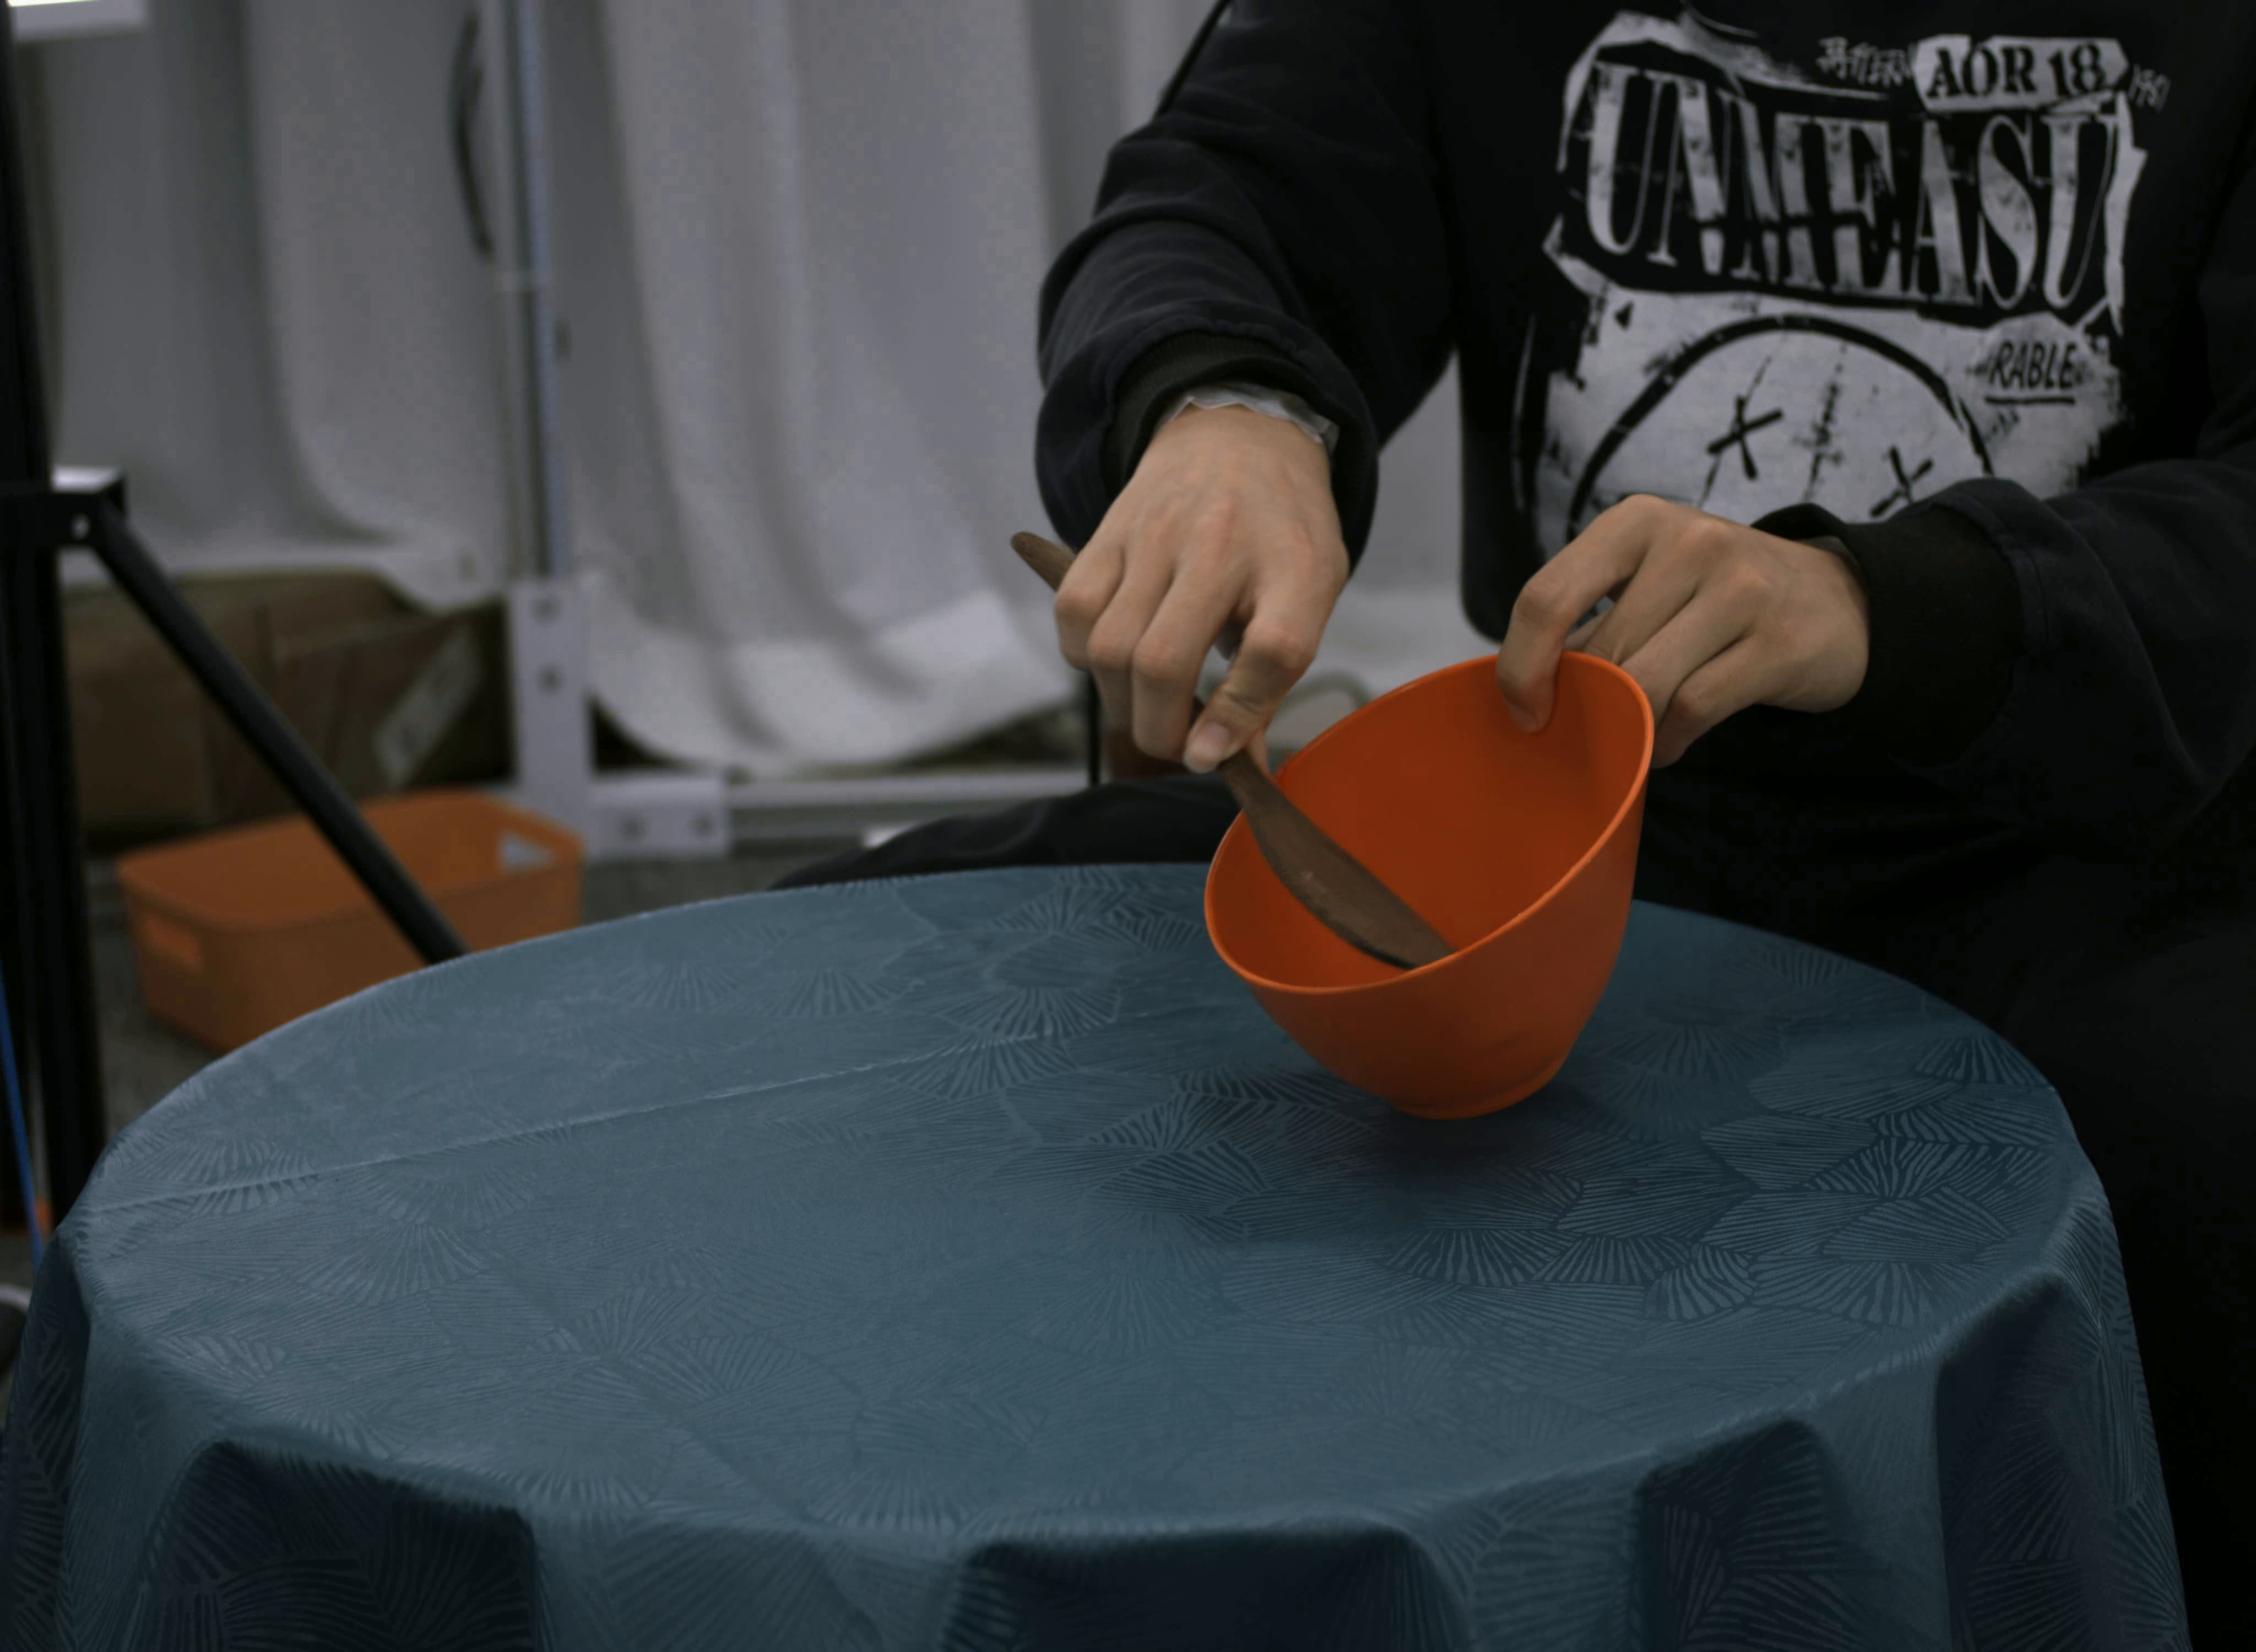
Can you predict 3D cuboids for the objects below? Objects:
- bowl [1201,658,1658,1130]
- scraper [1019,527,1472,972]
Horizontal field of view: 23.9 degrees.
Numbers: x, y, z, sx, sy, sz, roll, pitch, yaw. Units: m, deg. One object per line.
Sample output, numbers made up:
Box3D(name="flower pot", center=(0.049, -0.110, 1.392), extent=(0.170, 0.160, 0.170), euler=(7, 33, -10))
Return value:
Box3D(name="bowl", center=(0.100, 0.031, 1.596), extent=(0.148, 0.103, 0.149), euler=(-16, 35, 10))
Box3D(name="scraper", center=(0.033, -0.022, 1.586), extent=(0.215, 0.011, 0.074), euler=(48, 15, 32))
